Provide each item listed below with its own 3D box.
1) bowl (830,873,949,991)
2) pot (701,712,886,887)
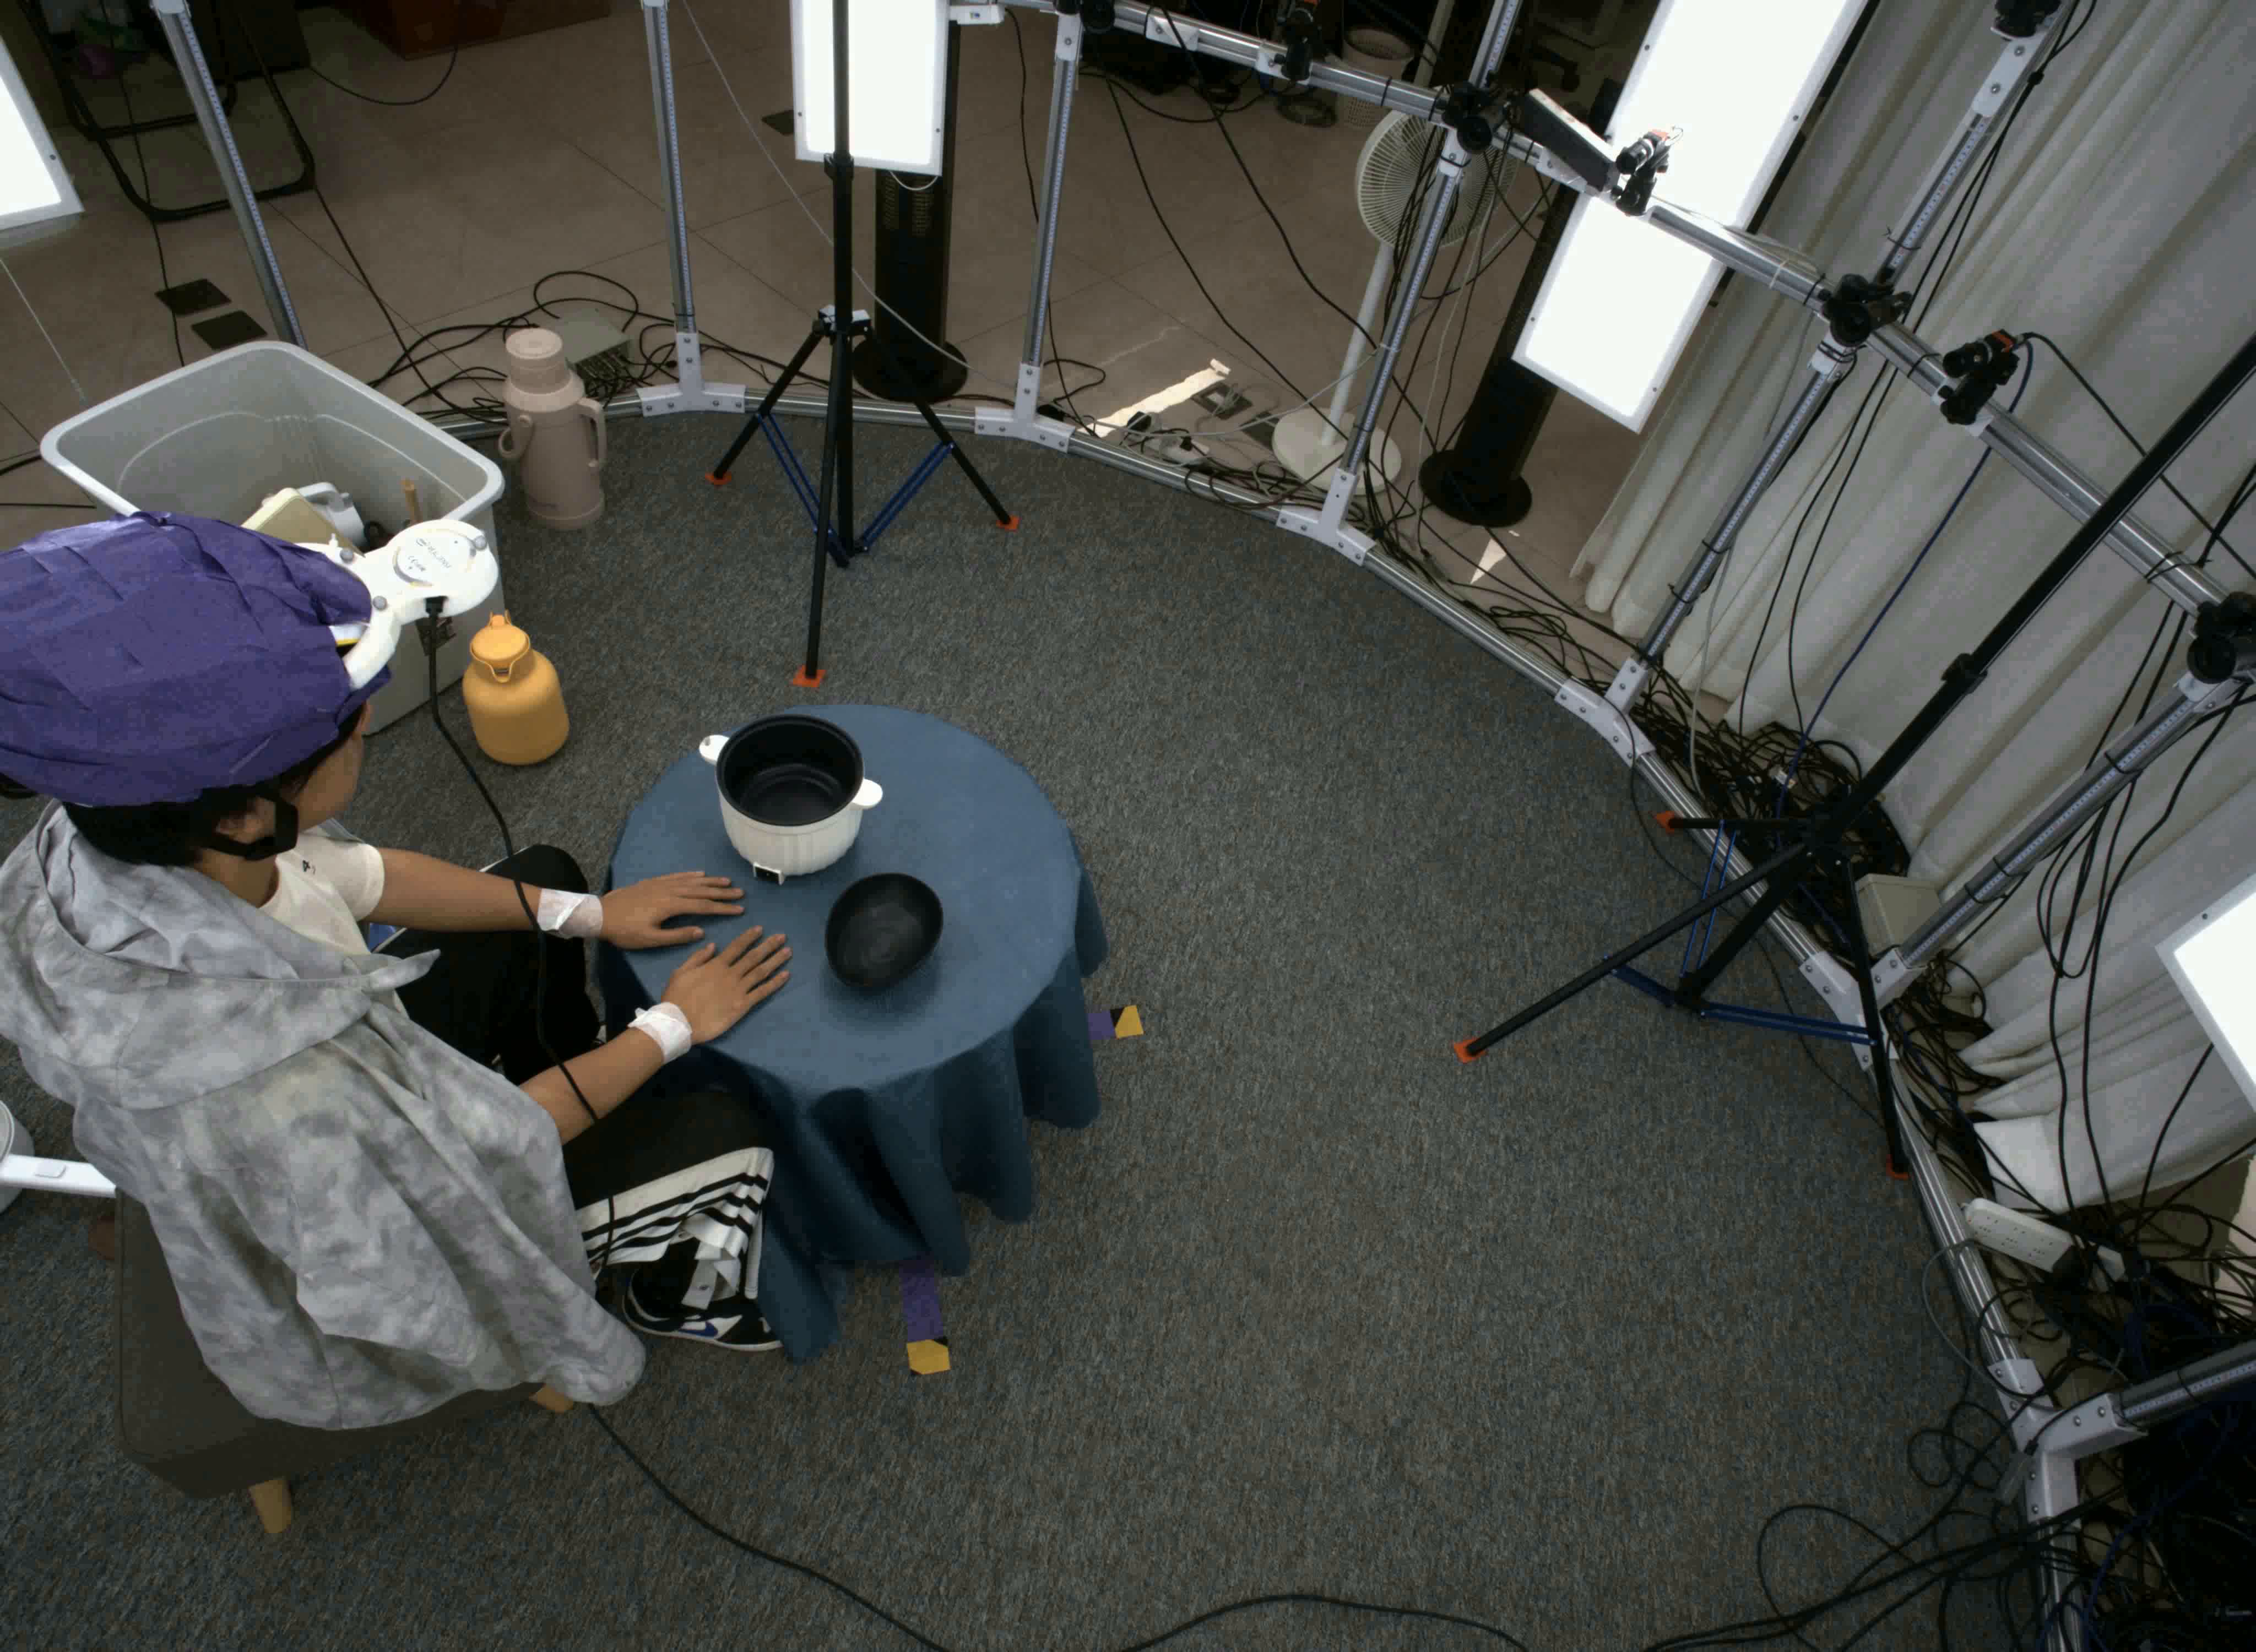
[{"bbox_3d":[-0.295,0.139,1.613,0.135,0.068,0.169,22,53,5],"label":"bowl"},{"bbox_3d":[-0.425,-0.037,1.665,0.238,0.145,0.188,17,55,-1],"label":"pot"}]
